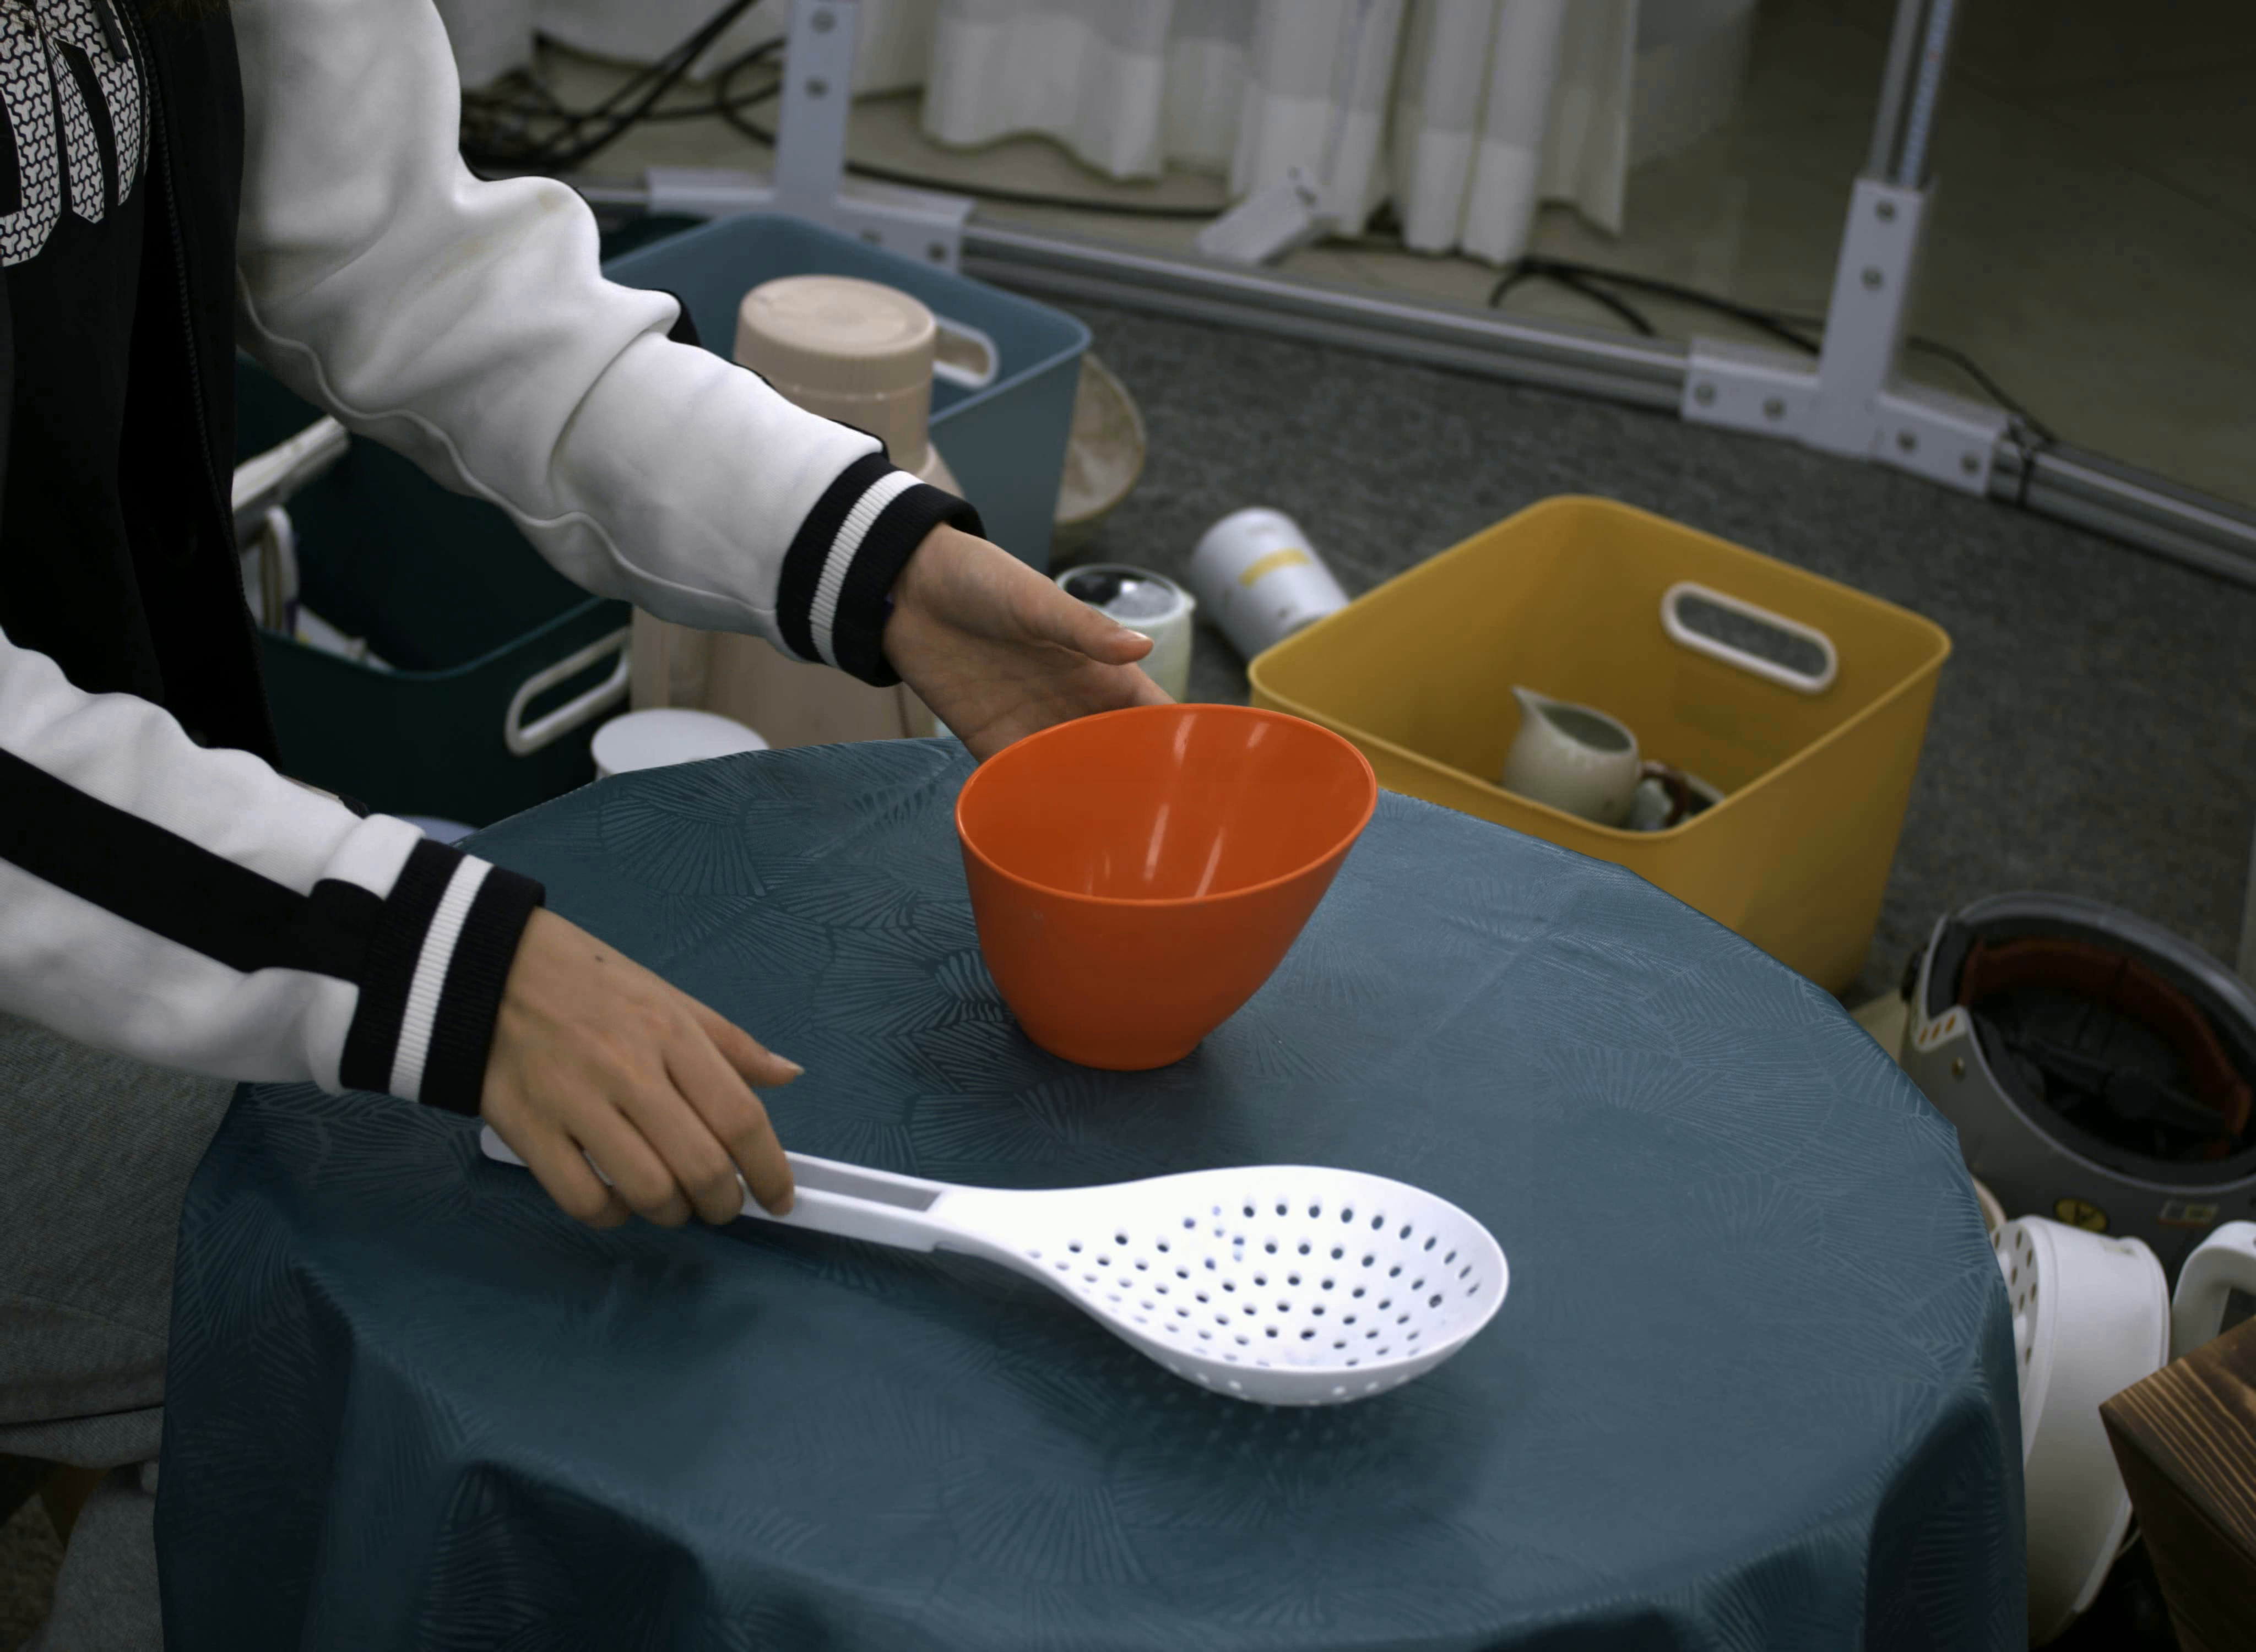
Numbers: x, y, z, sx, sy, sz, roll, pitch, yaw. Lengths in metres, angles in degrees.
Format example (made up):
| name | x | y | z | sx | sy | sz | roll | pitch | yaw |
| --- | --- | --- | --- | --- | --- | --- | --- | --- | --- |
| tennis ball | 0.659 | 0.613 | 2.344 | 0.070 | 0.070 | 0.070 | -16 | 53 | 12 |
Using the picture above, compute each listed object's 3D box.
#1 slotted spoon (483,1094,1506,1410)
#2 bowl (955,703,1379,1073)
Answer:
| name | x | y | z | sx | sy | sz | roll | pitch | yaw |
| --- | --- | --- | --- | --- | --- | --- | --- | --- | --- |
| slotted spoon | -0.049 | 0.130 | 1.730 | 0.350 | 0.045 | 0.136 | 14 | 26 | 16 |
| bowl | 0.010 | 0.028 | 1.882 | 0.147 | 0.104 | 0.149 | 4 | 29 | -3 |
